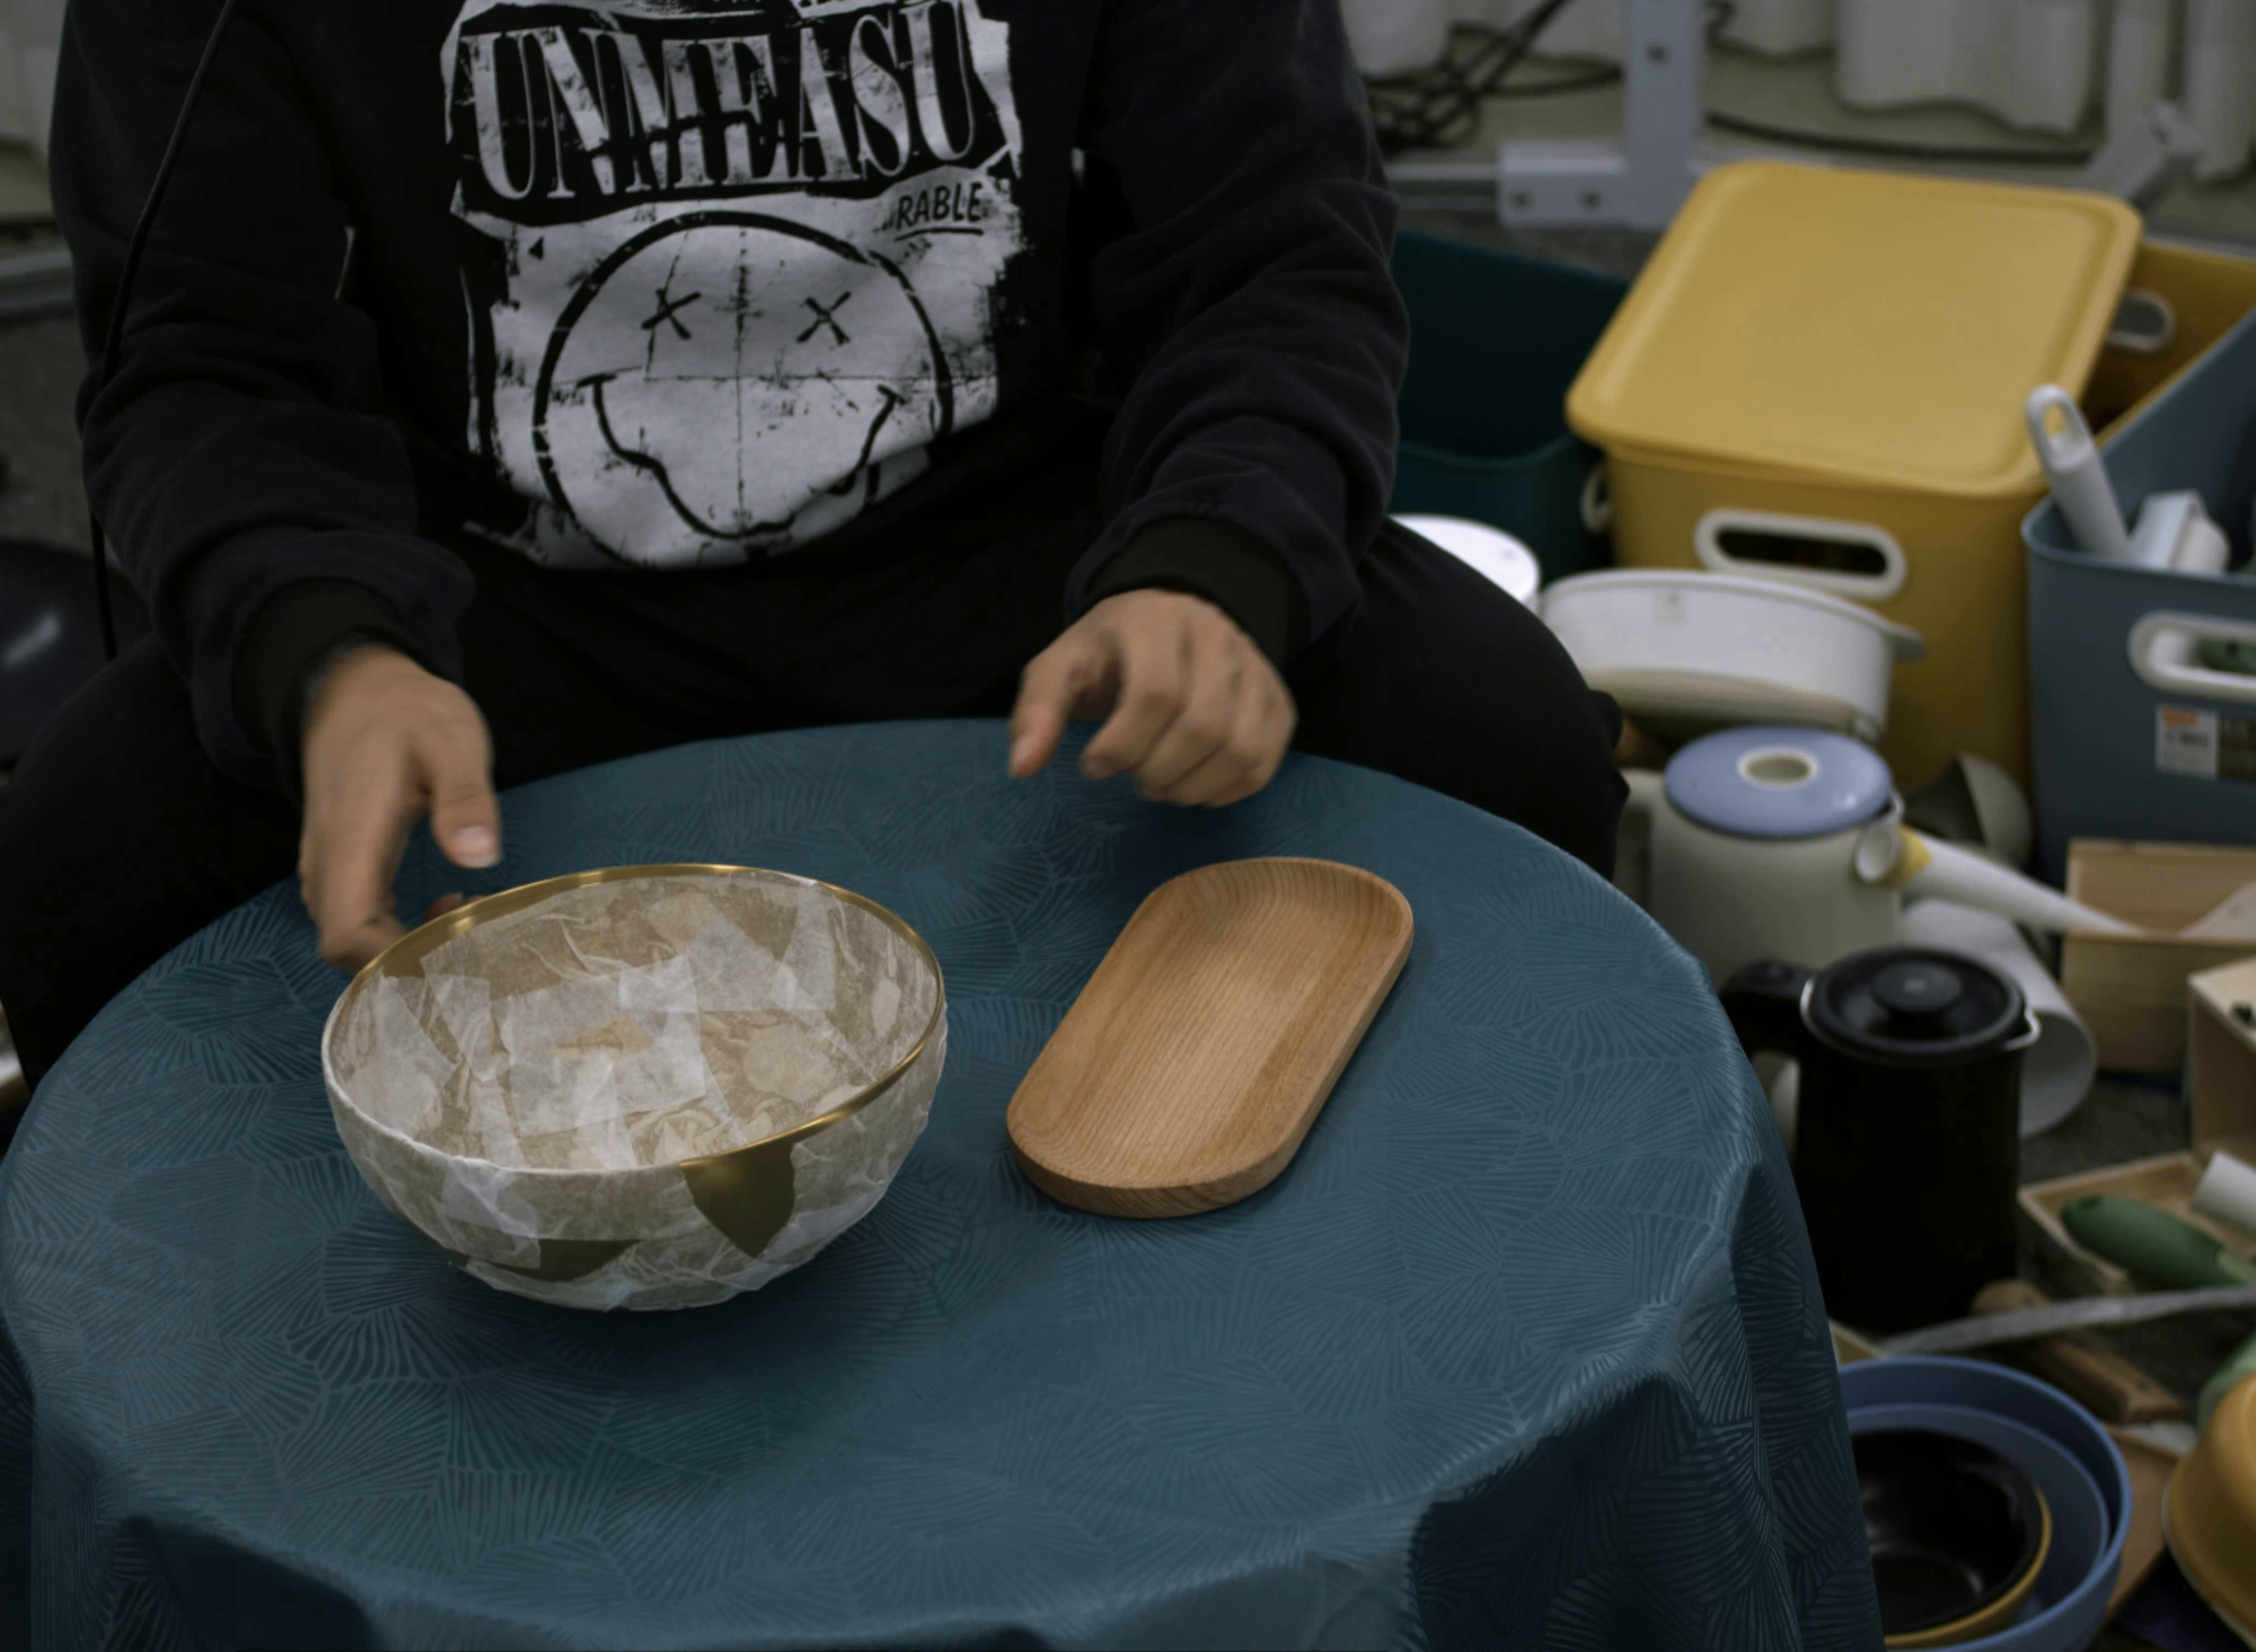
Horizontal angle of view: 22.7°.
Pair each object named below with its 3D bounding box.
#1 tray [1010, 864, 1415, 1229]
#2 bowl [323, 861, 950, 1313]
[{"bbox_3d":[0.031,0.074,1.935,0.101,0.020,0.235,4,30,18],"label":"tray"},{"bbox_3d":[-0.152,0.096,1.824,0.213,0.093,0.218,-3,26,2],"label":"bowl"}]
